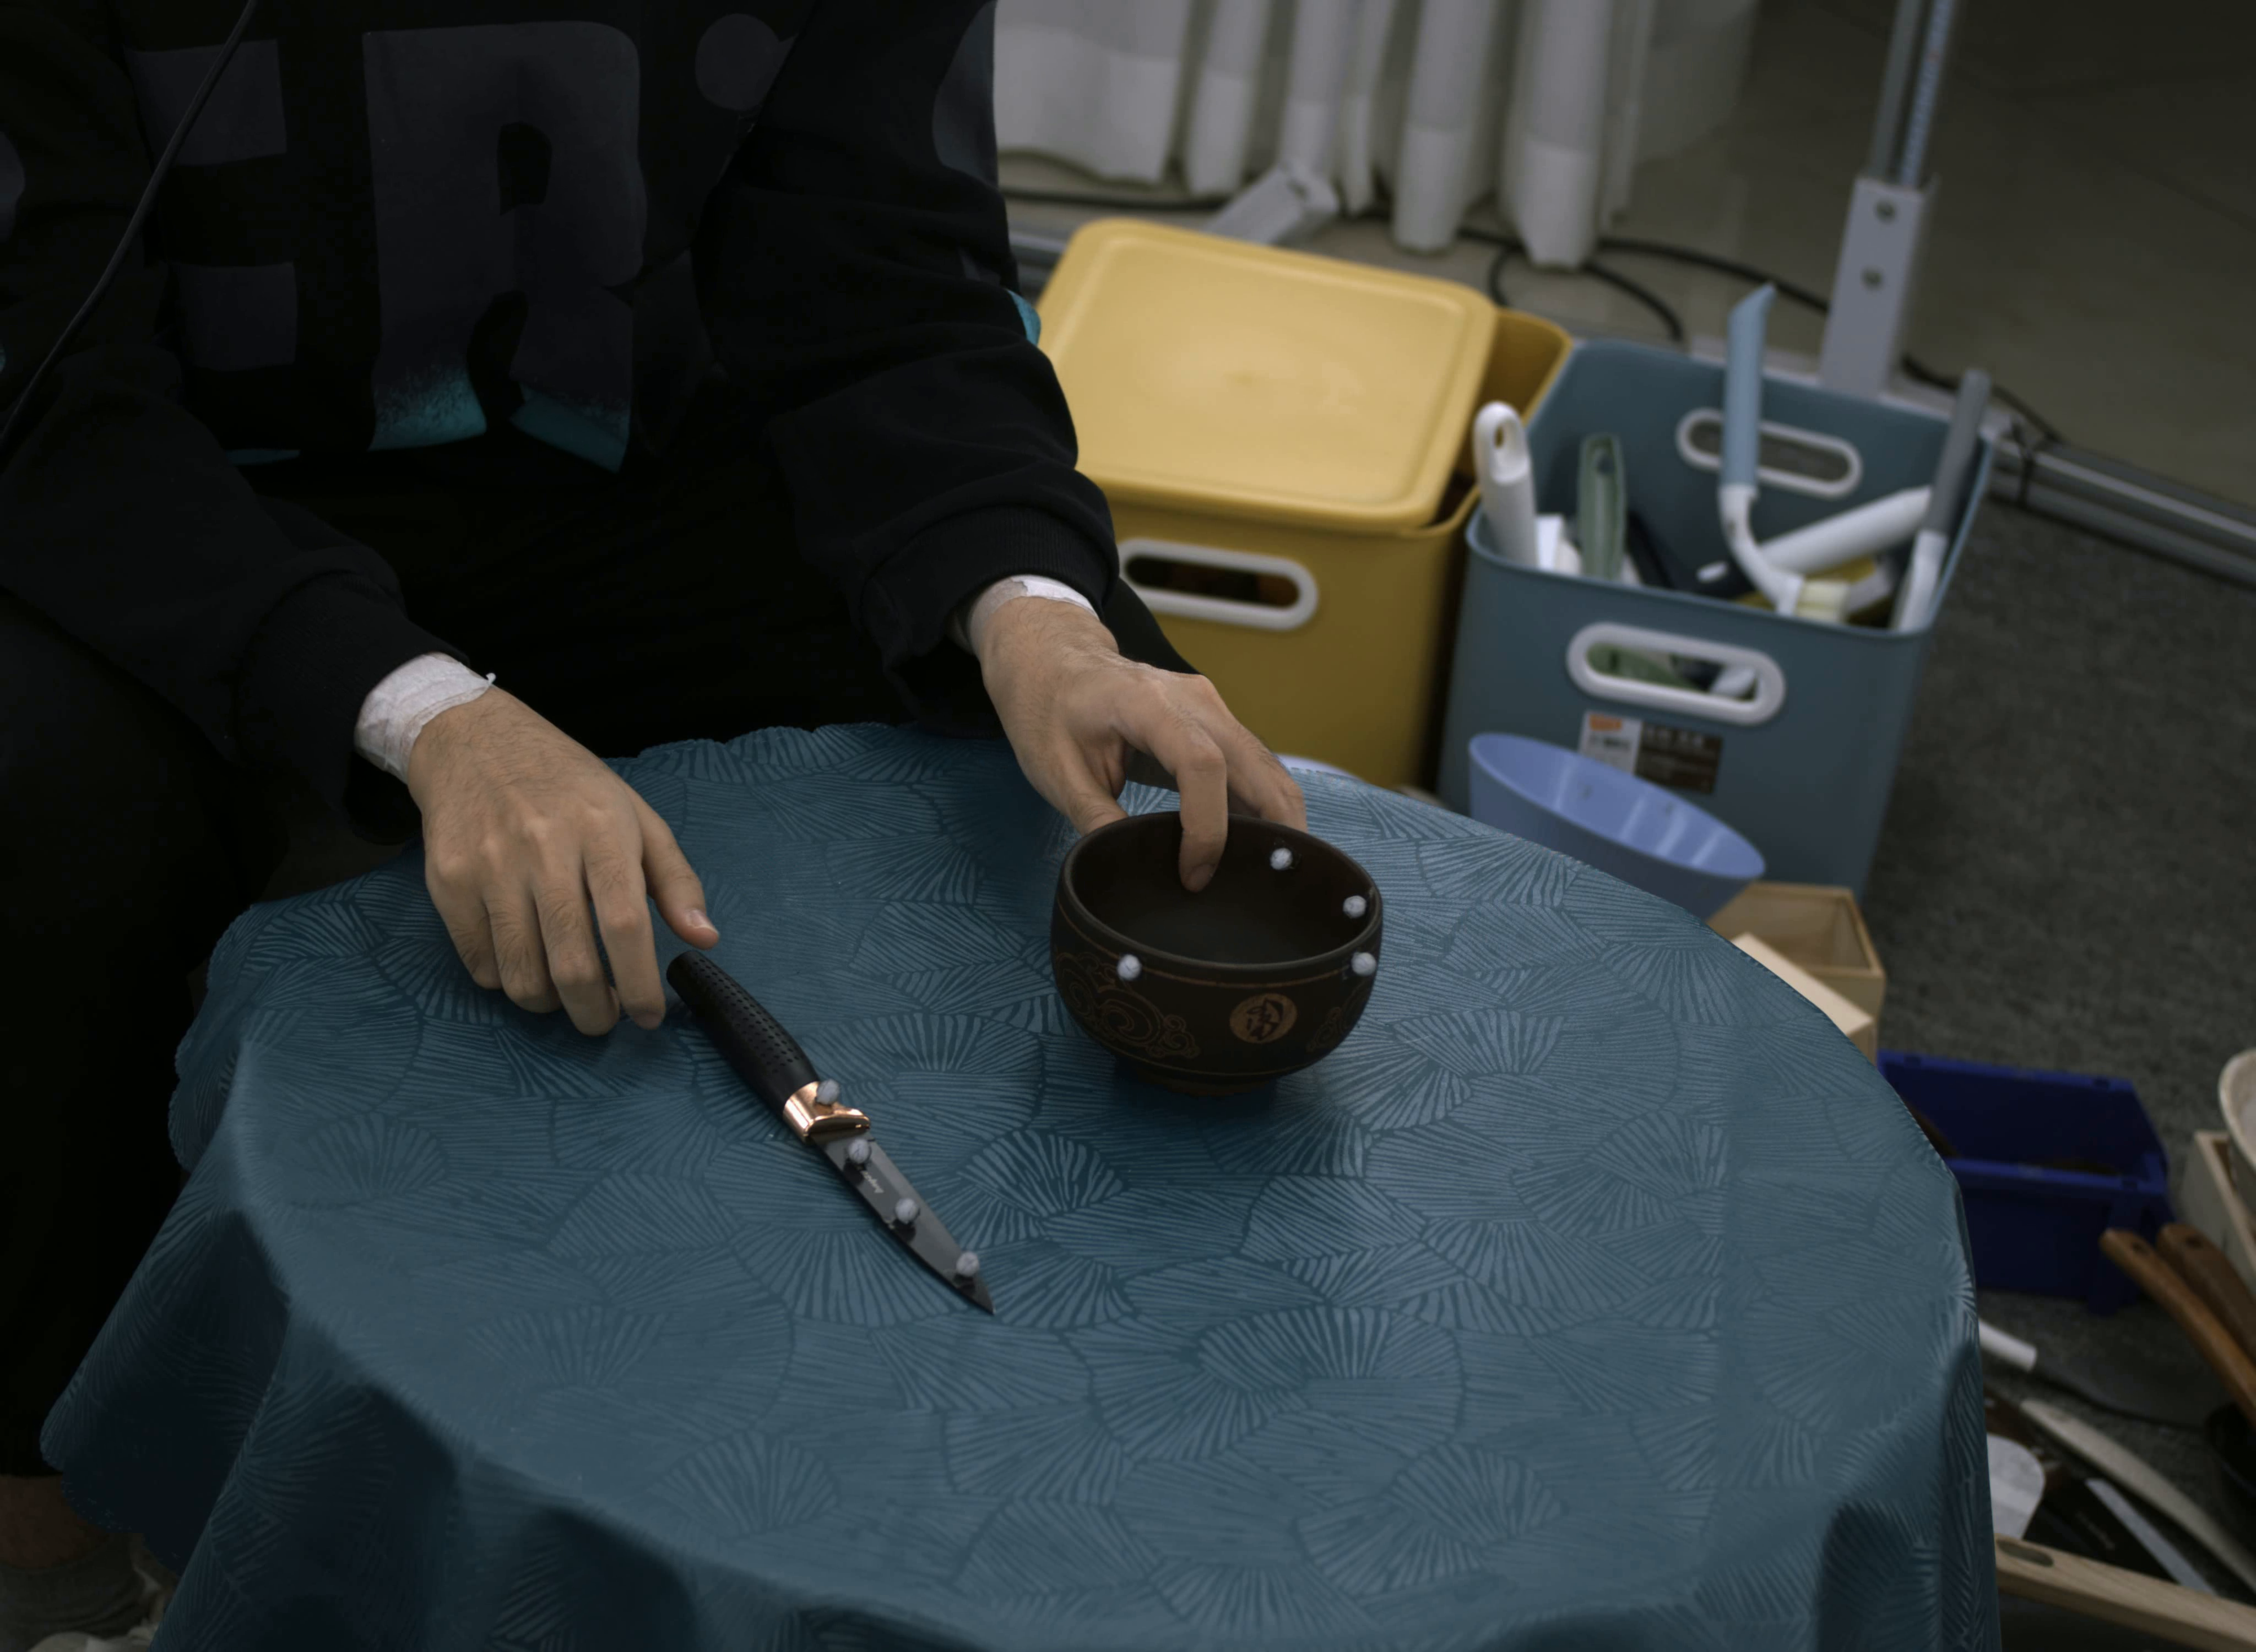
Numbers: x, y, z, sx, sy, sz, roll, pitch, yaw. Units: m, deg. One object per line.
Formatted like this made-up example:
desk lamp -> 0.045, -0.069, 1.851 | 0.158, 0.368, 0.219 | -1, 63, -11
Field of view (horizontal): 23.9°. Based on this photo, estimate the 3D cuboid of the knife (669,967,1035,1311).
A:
knife -> -0.096, 0.105, 1.805 | 0.026, 0.017, 0.227 | -3, 29, -35

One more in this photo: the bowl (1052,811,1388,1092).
bowl -> 0.030, 0.050, 1.871 | 0.117, 0.069, 0.118 | 5, 25, -3
